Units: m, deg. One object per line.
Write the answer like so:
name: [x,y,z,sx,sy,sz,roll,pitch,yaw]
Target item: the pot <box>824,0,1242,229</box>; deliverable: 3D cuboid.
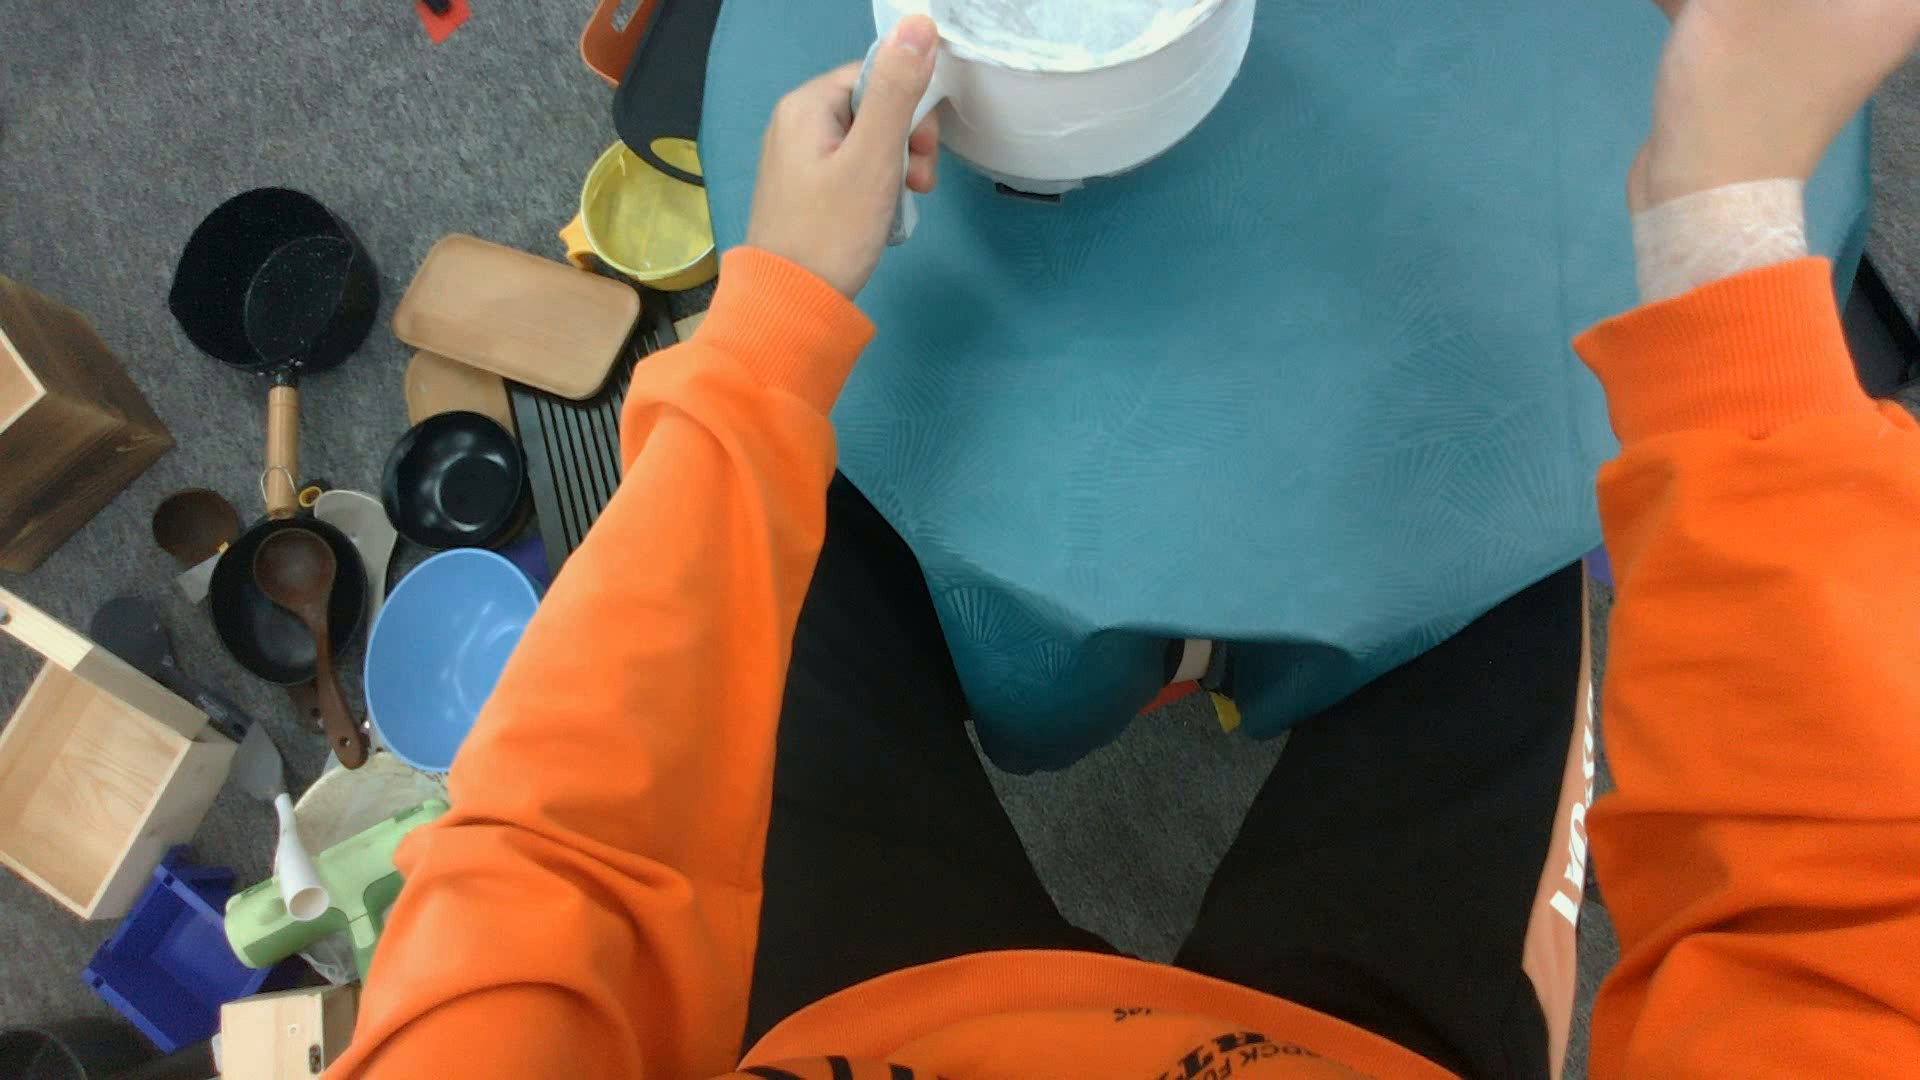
pot: [0.024,-0.245,0.612,0.179,0.136,0.234,39,84,9]
